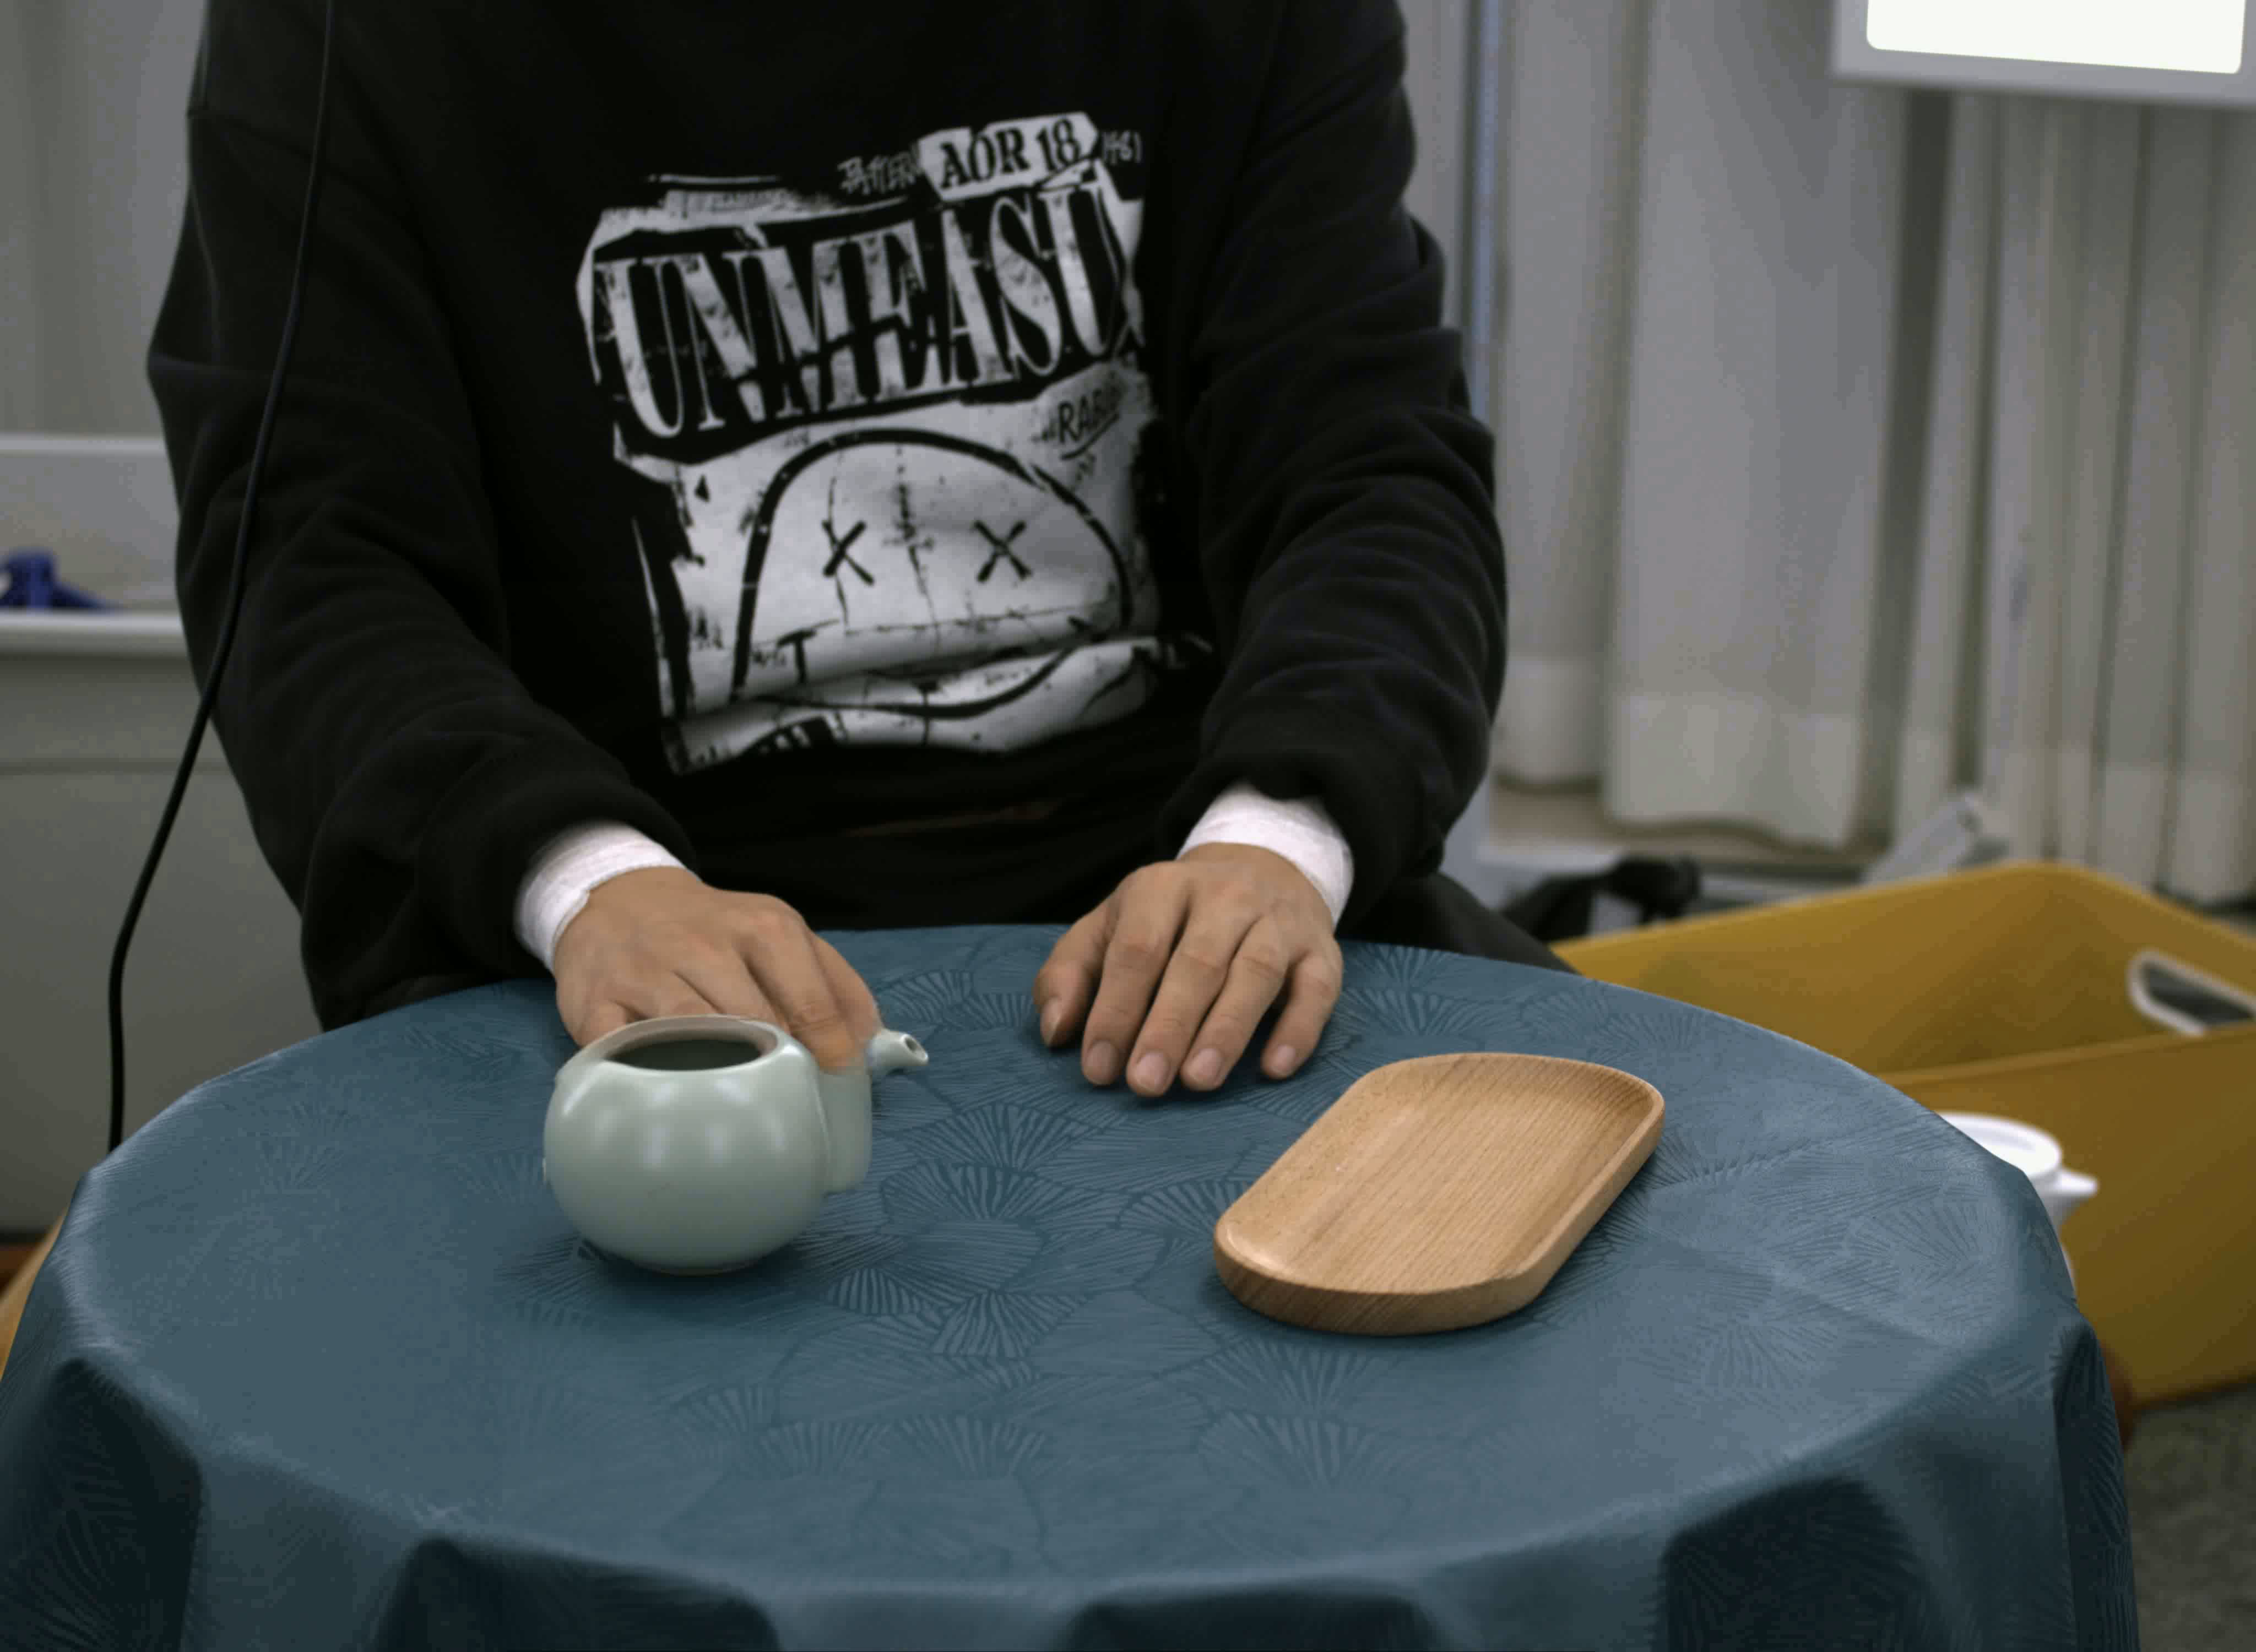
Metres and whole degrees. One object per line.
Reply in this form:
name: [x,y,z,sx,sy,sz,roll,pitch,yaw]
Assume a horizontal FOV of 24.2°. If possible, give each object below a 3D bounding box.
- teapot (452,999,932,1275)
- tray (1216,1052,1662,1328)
teapot: [-0.129,0.091,1.556,0.143,0.075,0.088,5,16,9]
tray: [0.097,0.109,1.609,0.101,0.020,0.231,7,15,17]
